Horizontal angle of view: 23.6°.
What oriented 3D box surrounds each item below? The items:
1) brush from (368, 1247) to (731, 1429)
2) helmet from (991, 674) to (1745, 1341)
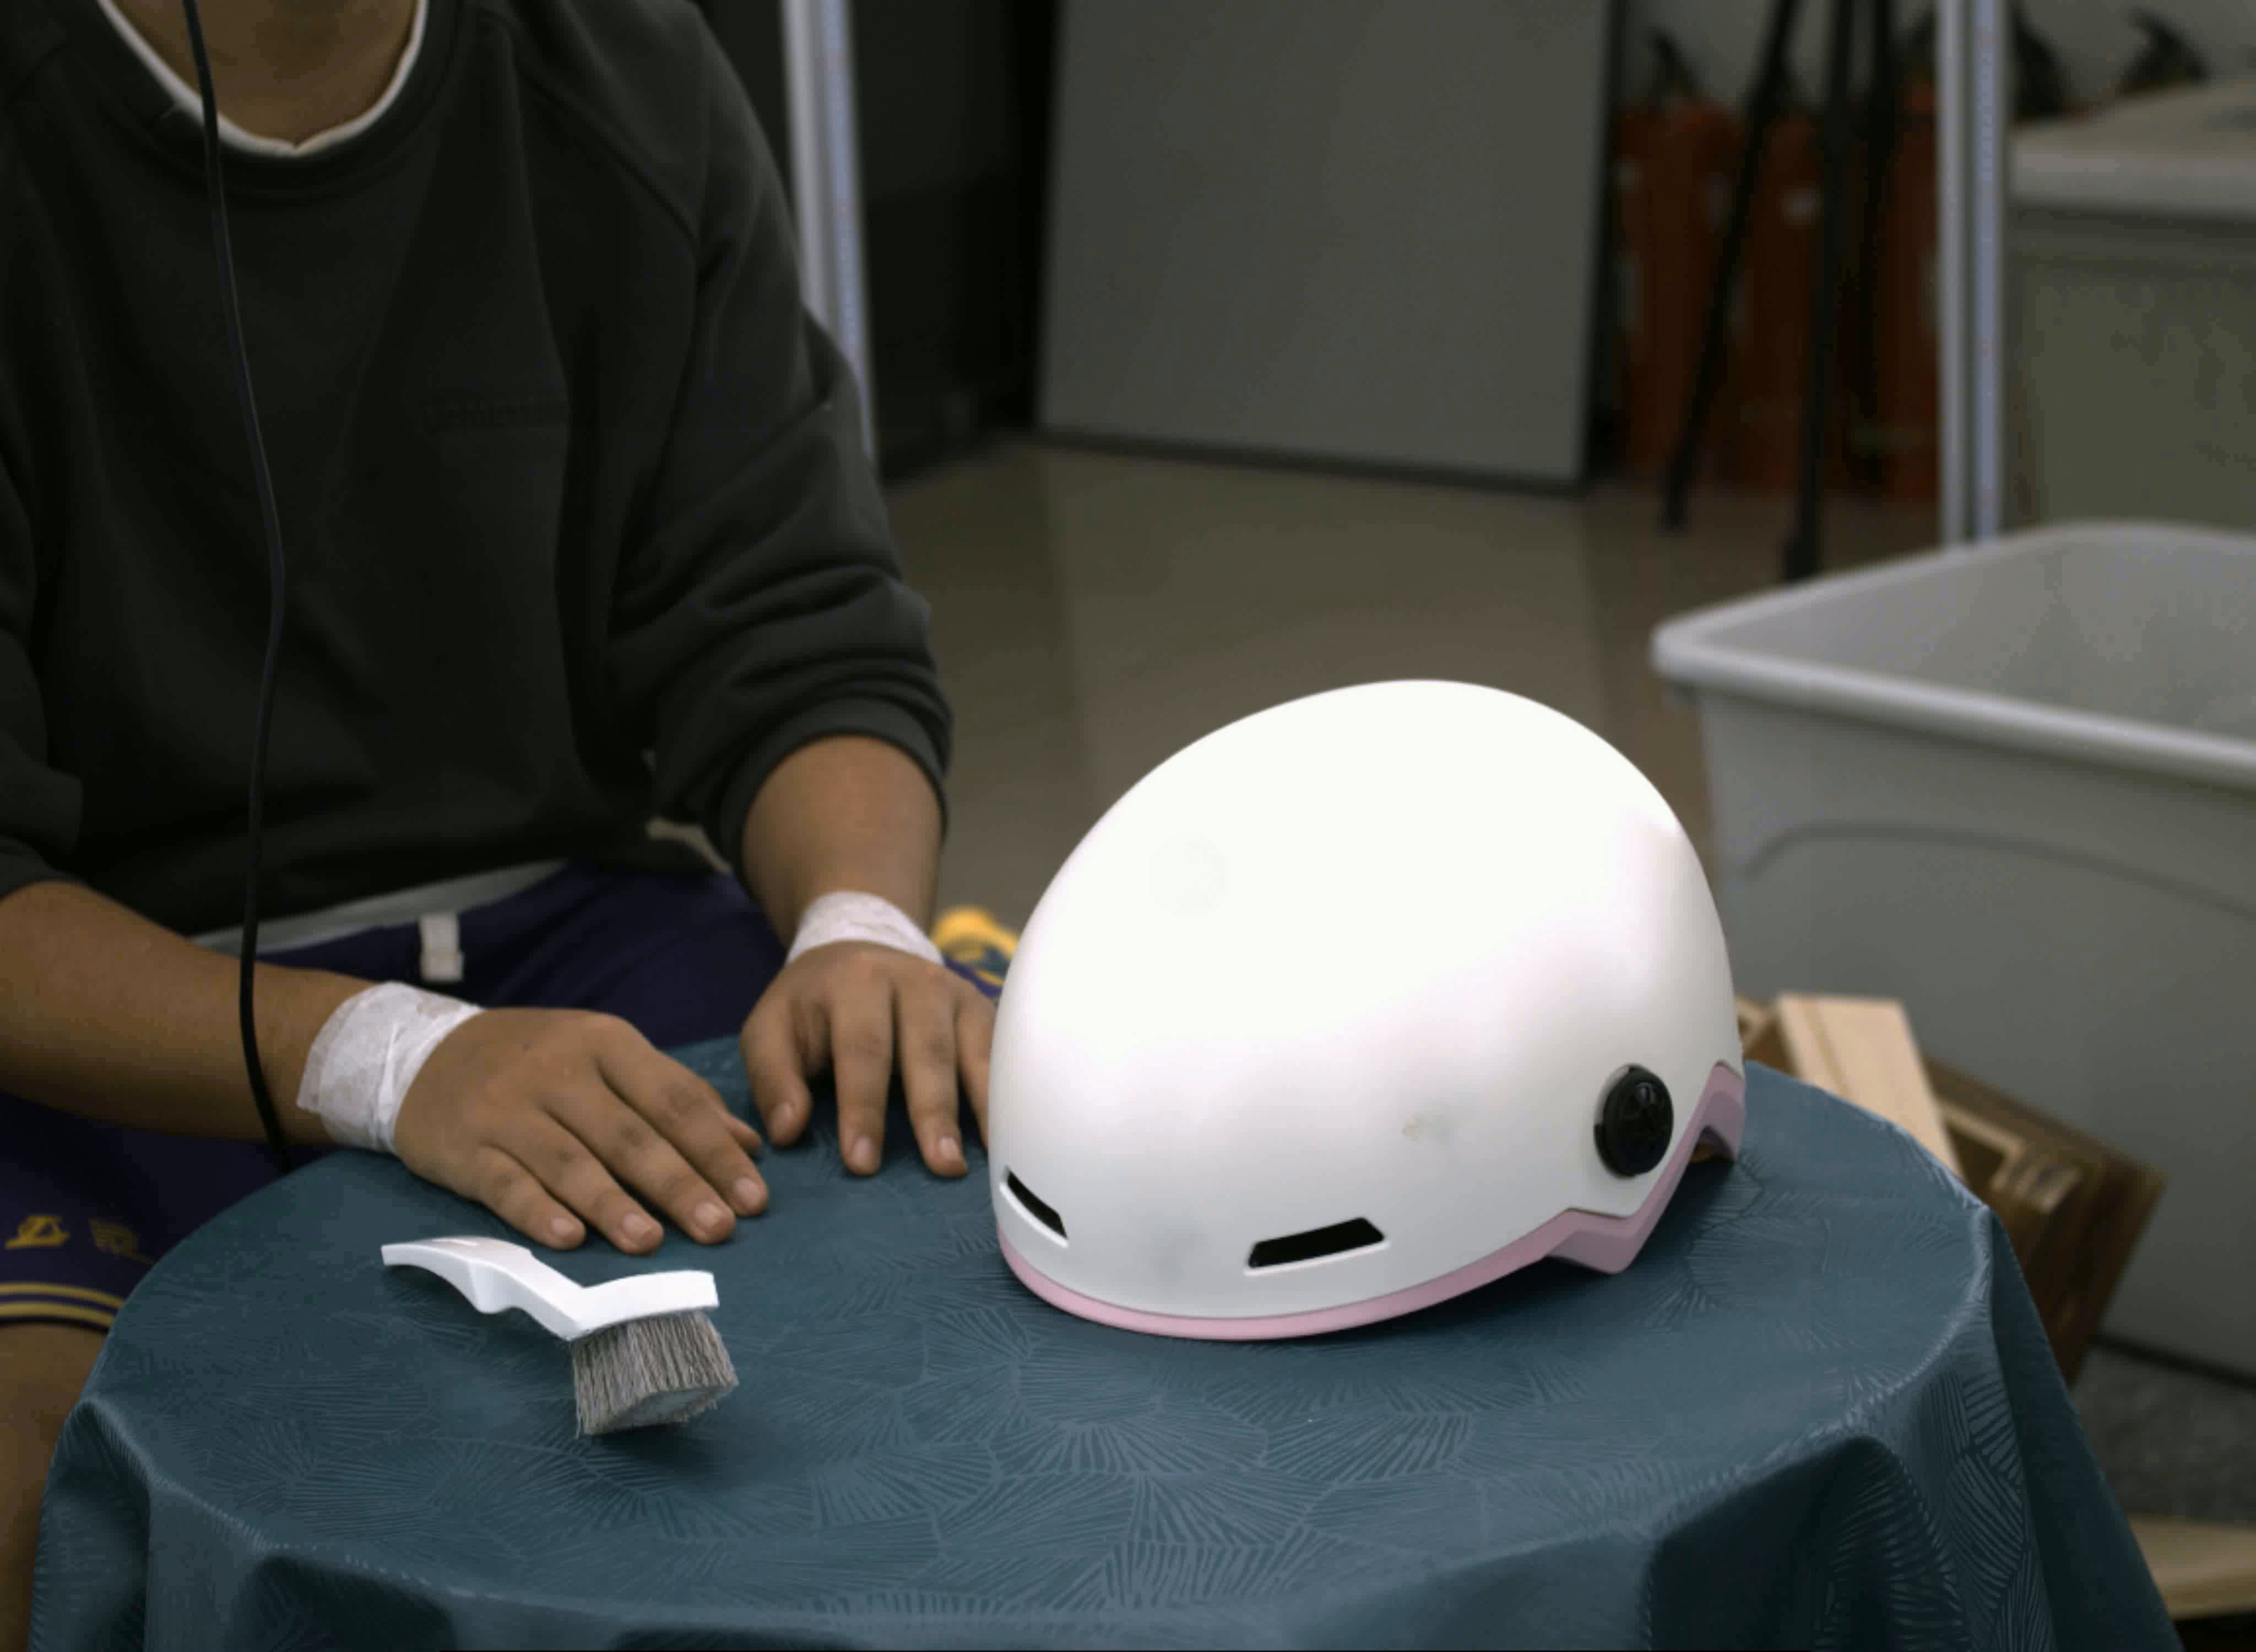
[{"bbox_3d":[-0.179,0.154,1.638,0.033,0.051,0.246,-6,0,-27],"label":"brush"},{"bbox_3d":[0.075,0.044,1.715,0.238,0.169,0.264,6,17,35],"label":"helmet"}]
